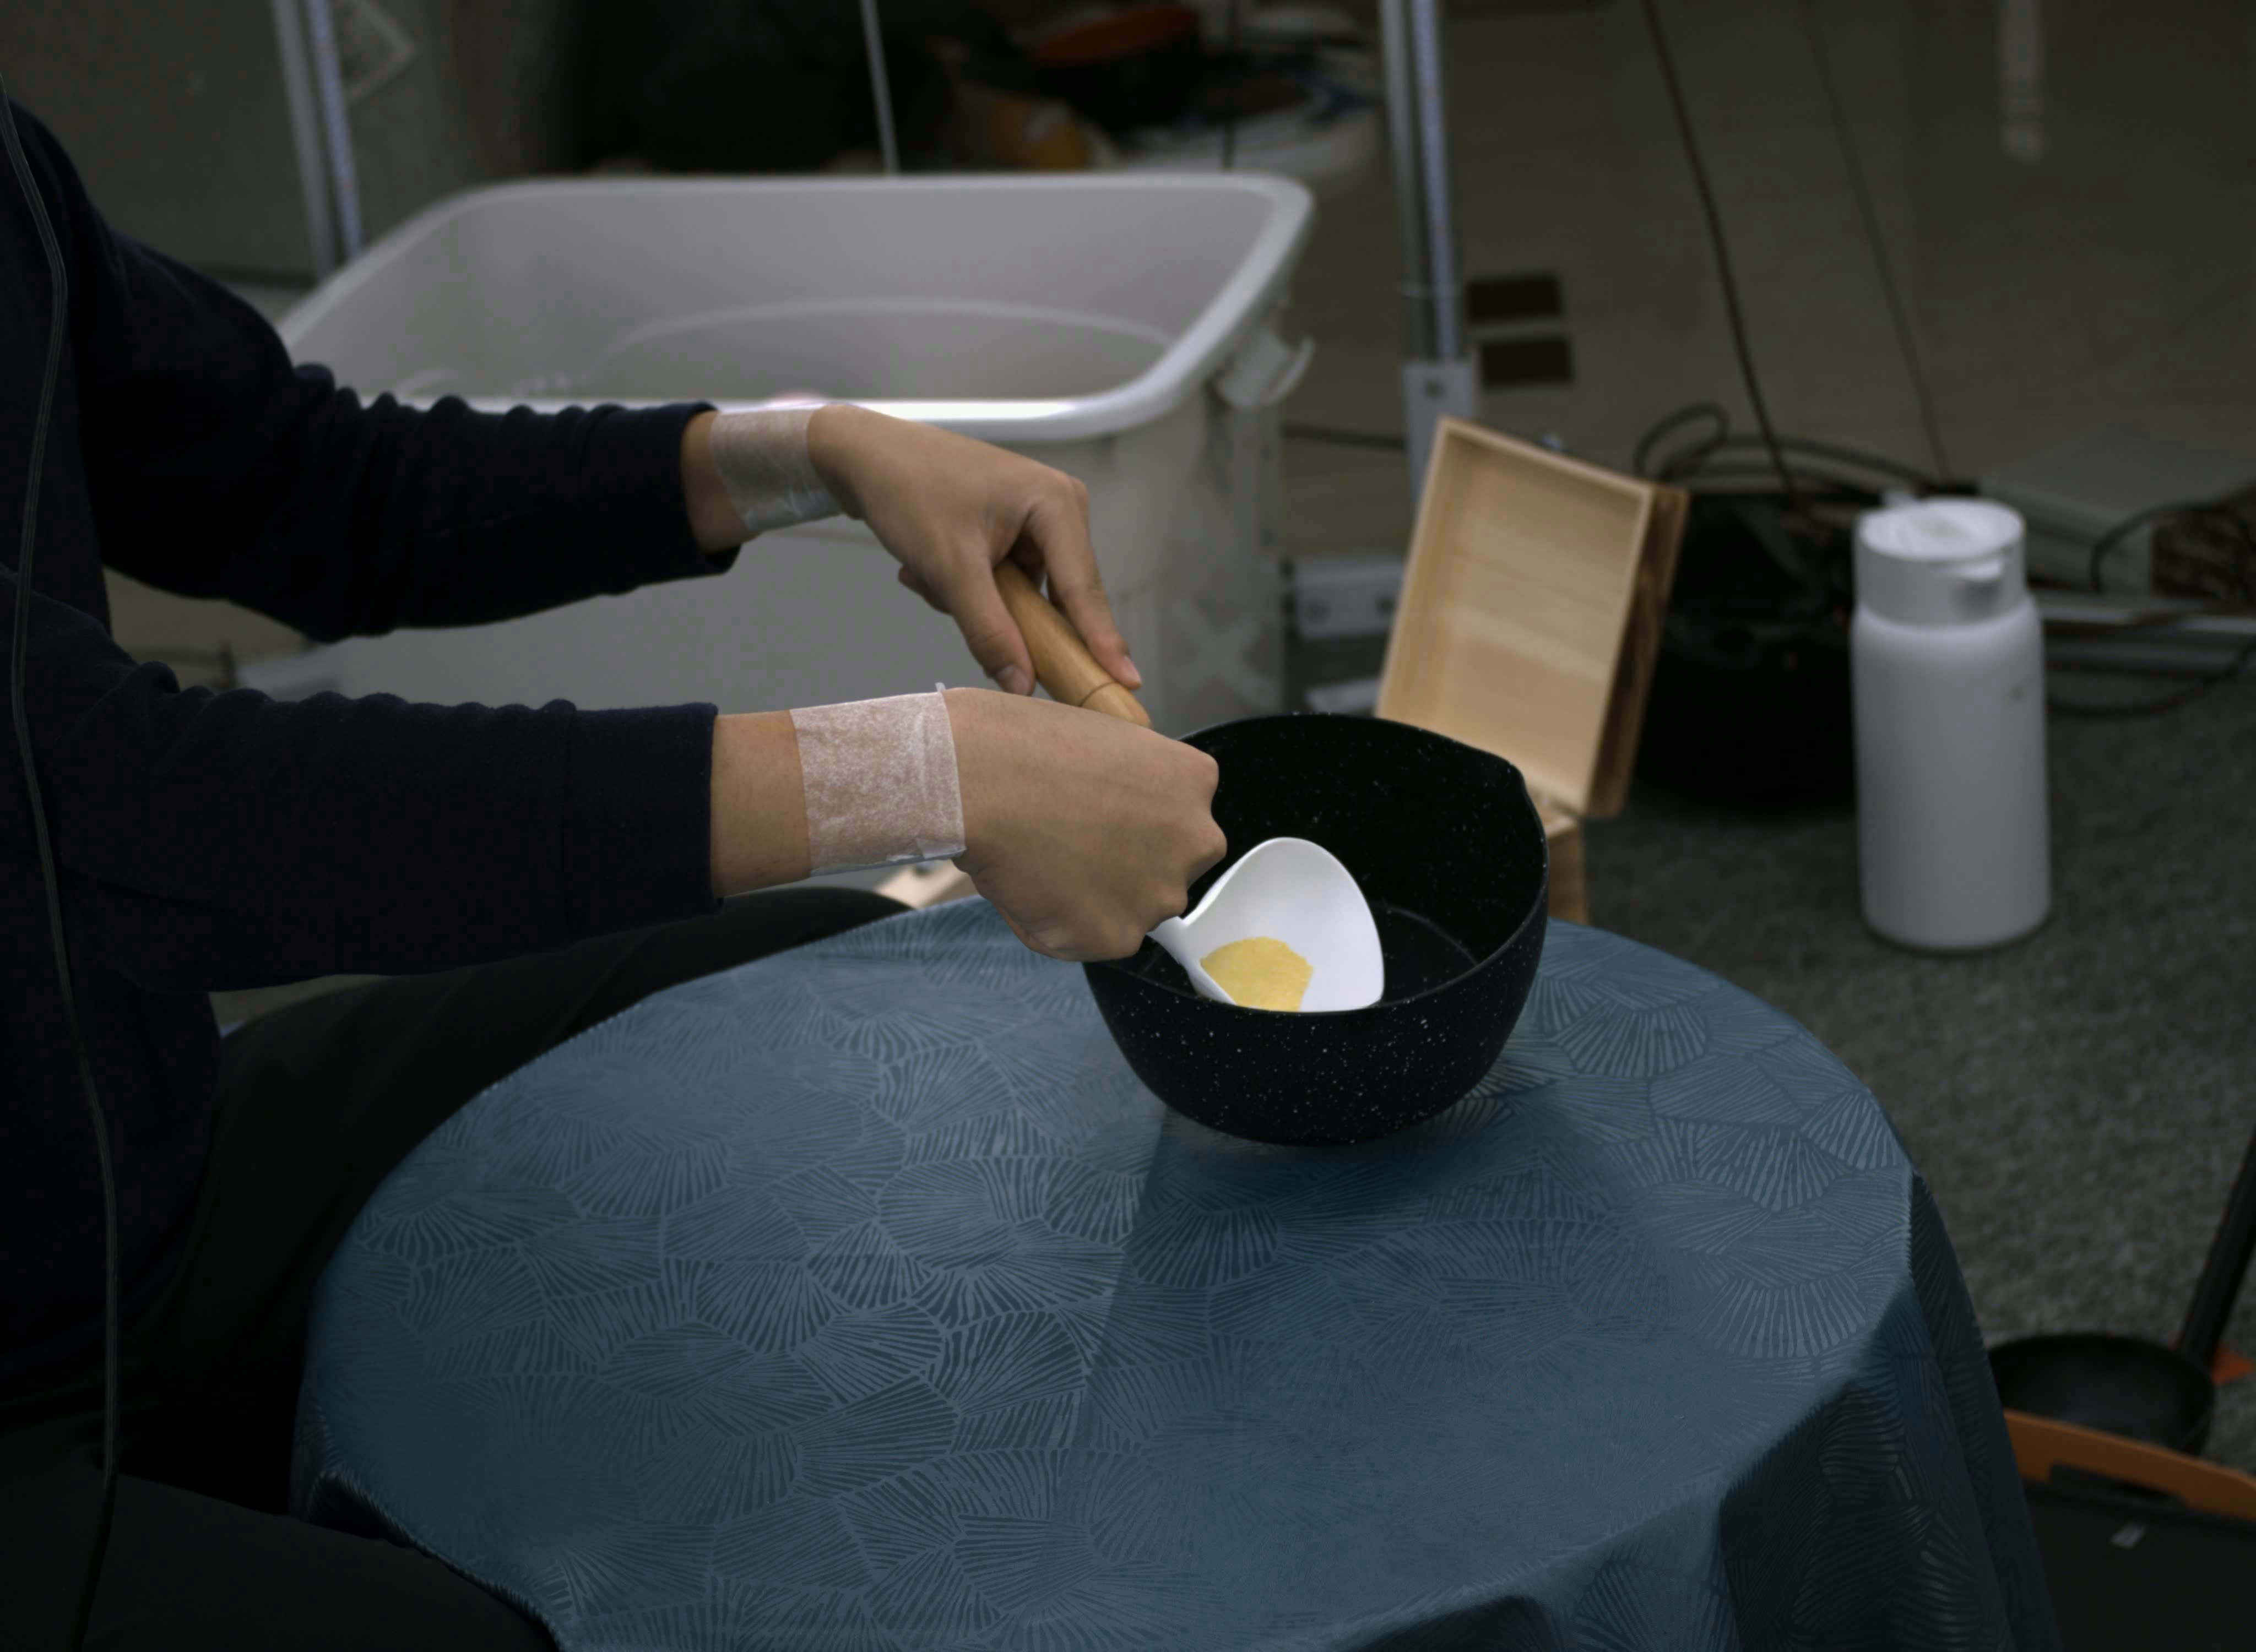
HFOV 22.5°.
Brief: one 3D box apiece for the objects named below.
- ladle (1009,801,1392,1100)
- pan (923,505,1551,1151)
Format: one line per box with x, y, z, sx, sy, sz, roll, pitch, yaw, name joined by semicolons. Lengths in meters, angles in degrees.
0.030;0.035;2.024;0.070;0.089;0.295;-2;-12;14;ladle
0.023;-0.003;2.234;0.206;0.110;0.338;-28;48;-26;pan
